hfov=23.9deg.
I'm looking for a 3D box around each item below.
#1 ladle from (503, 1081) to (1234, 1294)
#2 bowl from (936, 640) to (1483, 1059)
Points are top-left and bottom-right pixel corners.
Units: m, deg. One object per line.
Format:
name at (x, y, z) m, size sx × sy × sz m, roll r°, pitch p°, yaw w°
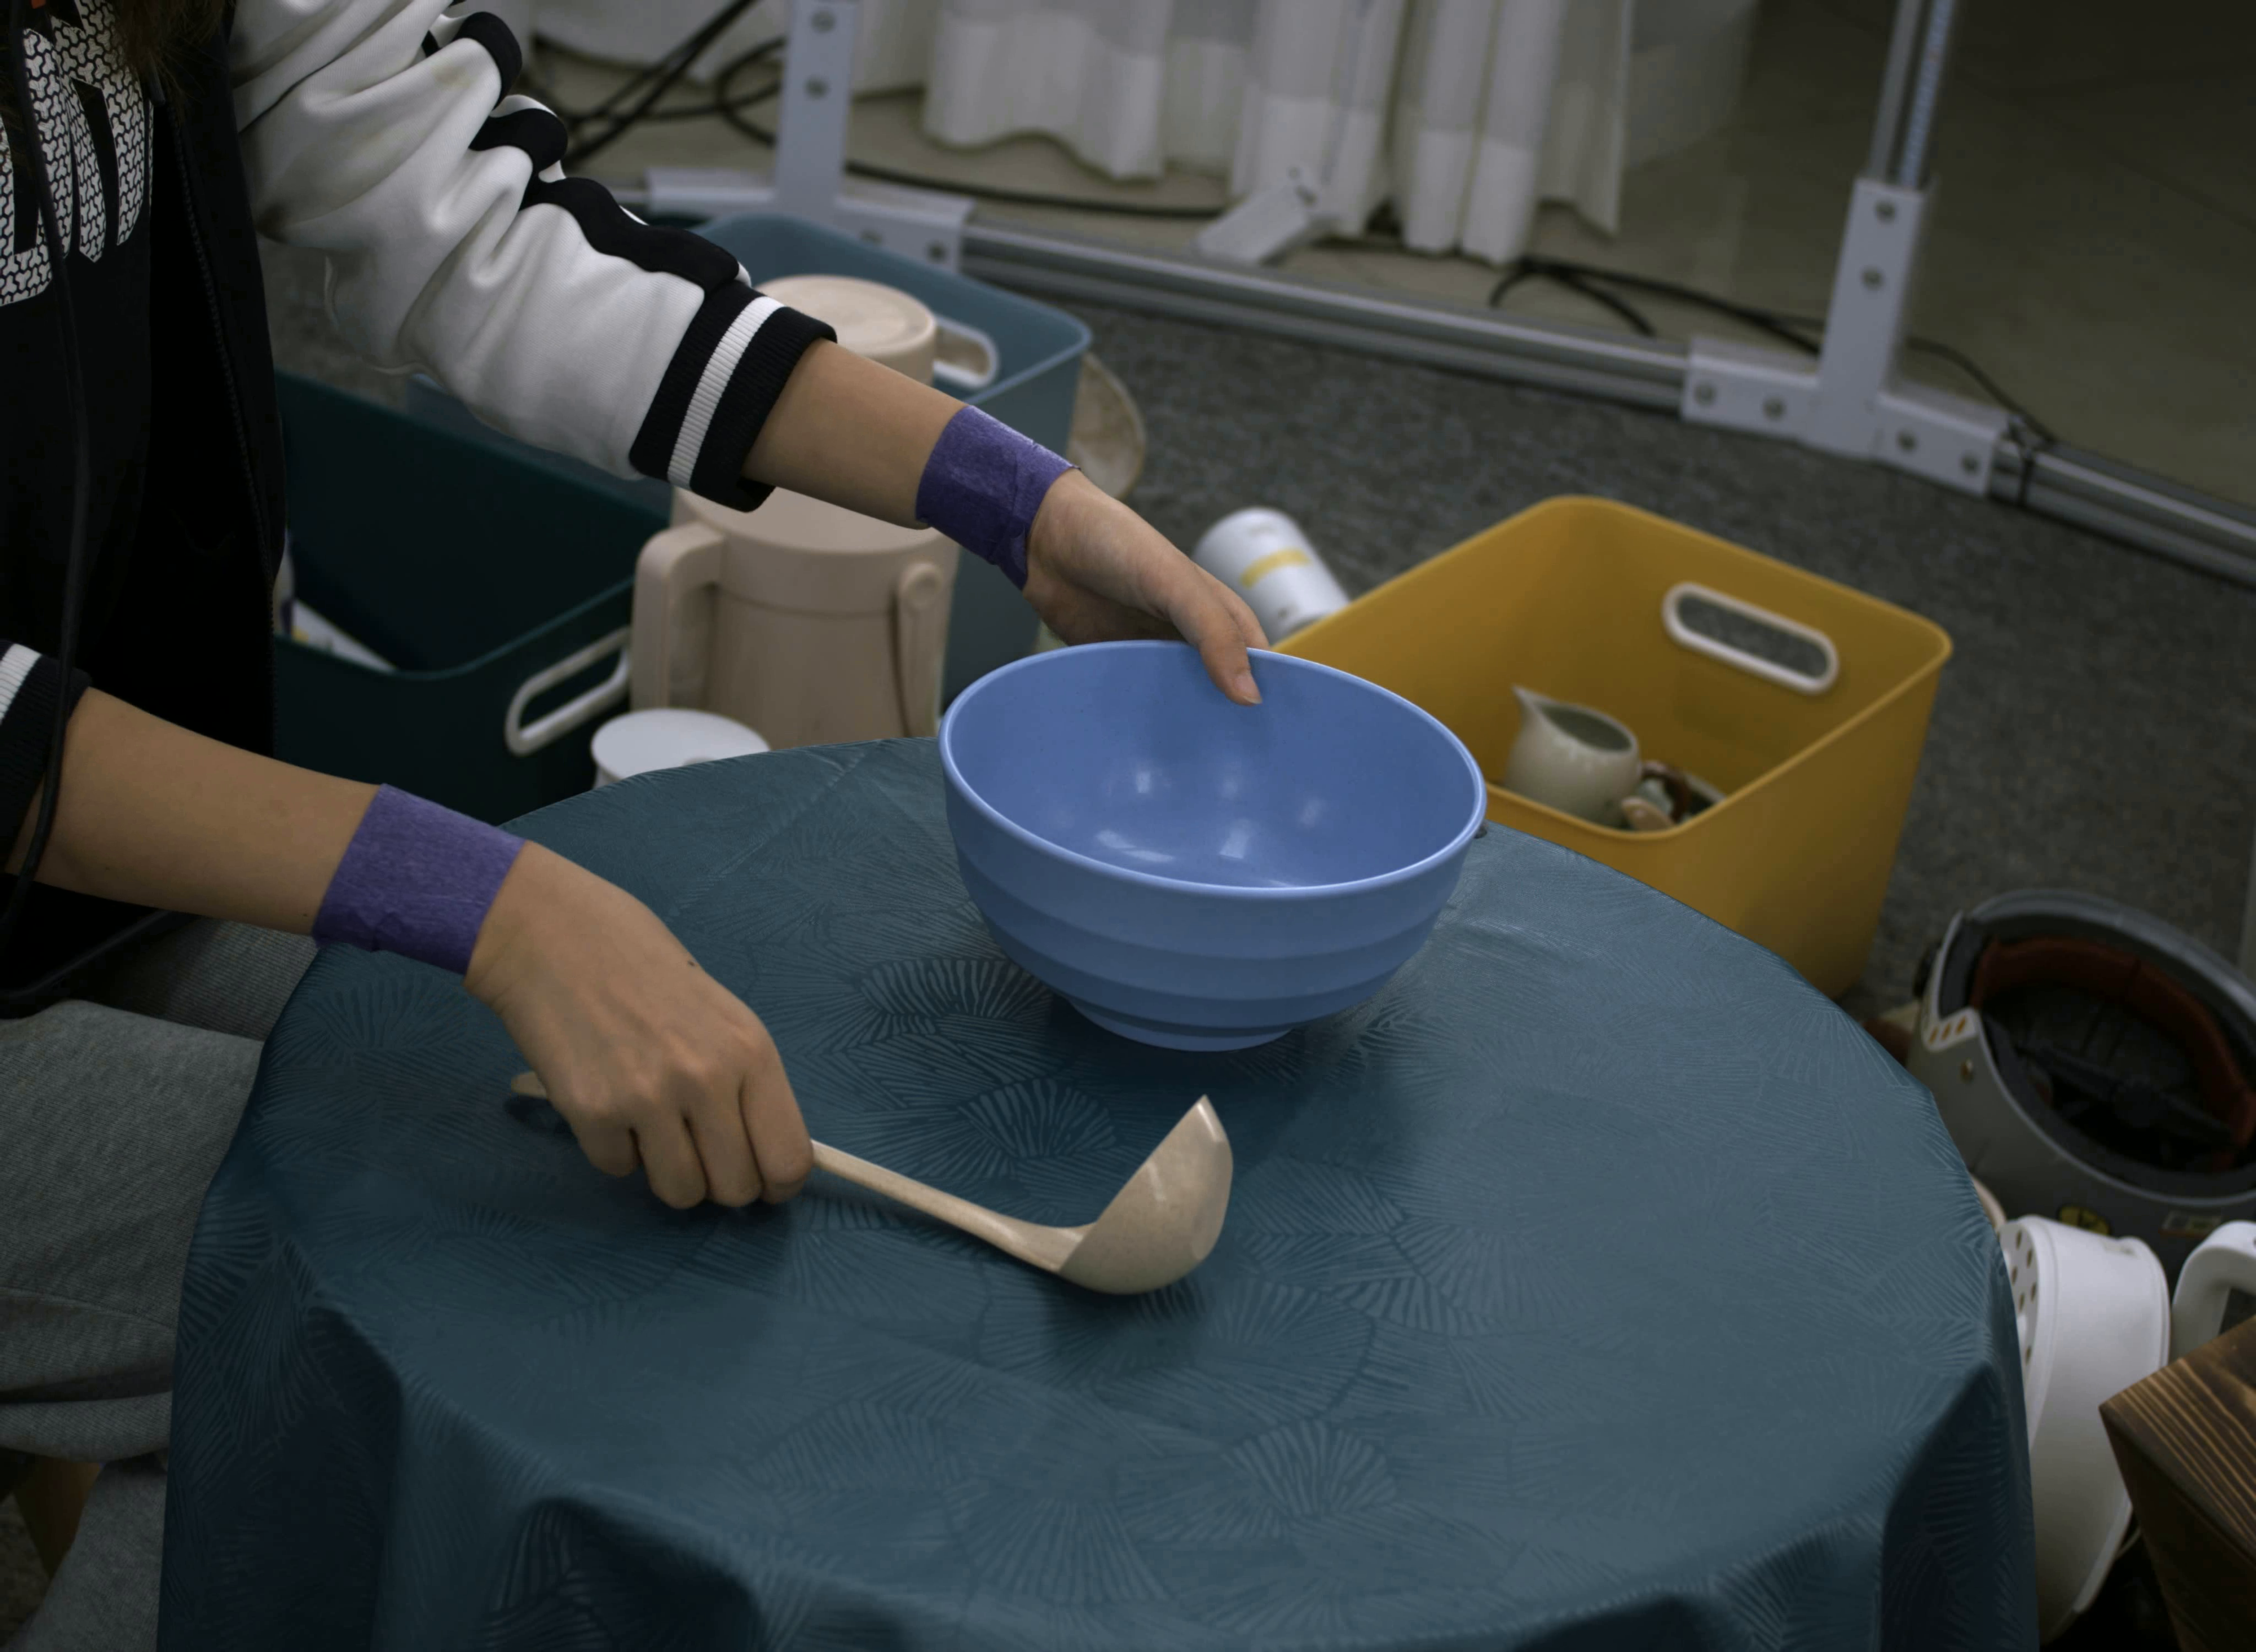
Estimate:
ladle at (-0.089, 0.092, 1.761) m, size 0.255 × 0.072 × 0.072 m, roll 15°, pitch 26°, yaw 15°
bowl at (0.024, 0.020, 1.912) m, size 0.196 × 0.095 × 0.198 m, roll 5°, pitch 29°, yaw -3°
